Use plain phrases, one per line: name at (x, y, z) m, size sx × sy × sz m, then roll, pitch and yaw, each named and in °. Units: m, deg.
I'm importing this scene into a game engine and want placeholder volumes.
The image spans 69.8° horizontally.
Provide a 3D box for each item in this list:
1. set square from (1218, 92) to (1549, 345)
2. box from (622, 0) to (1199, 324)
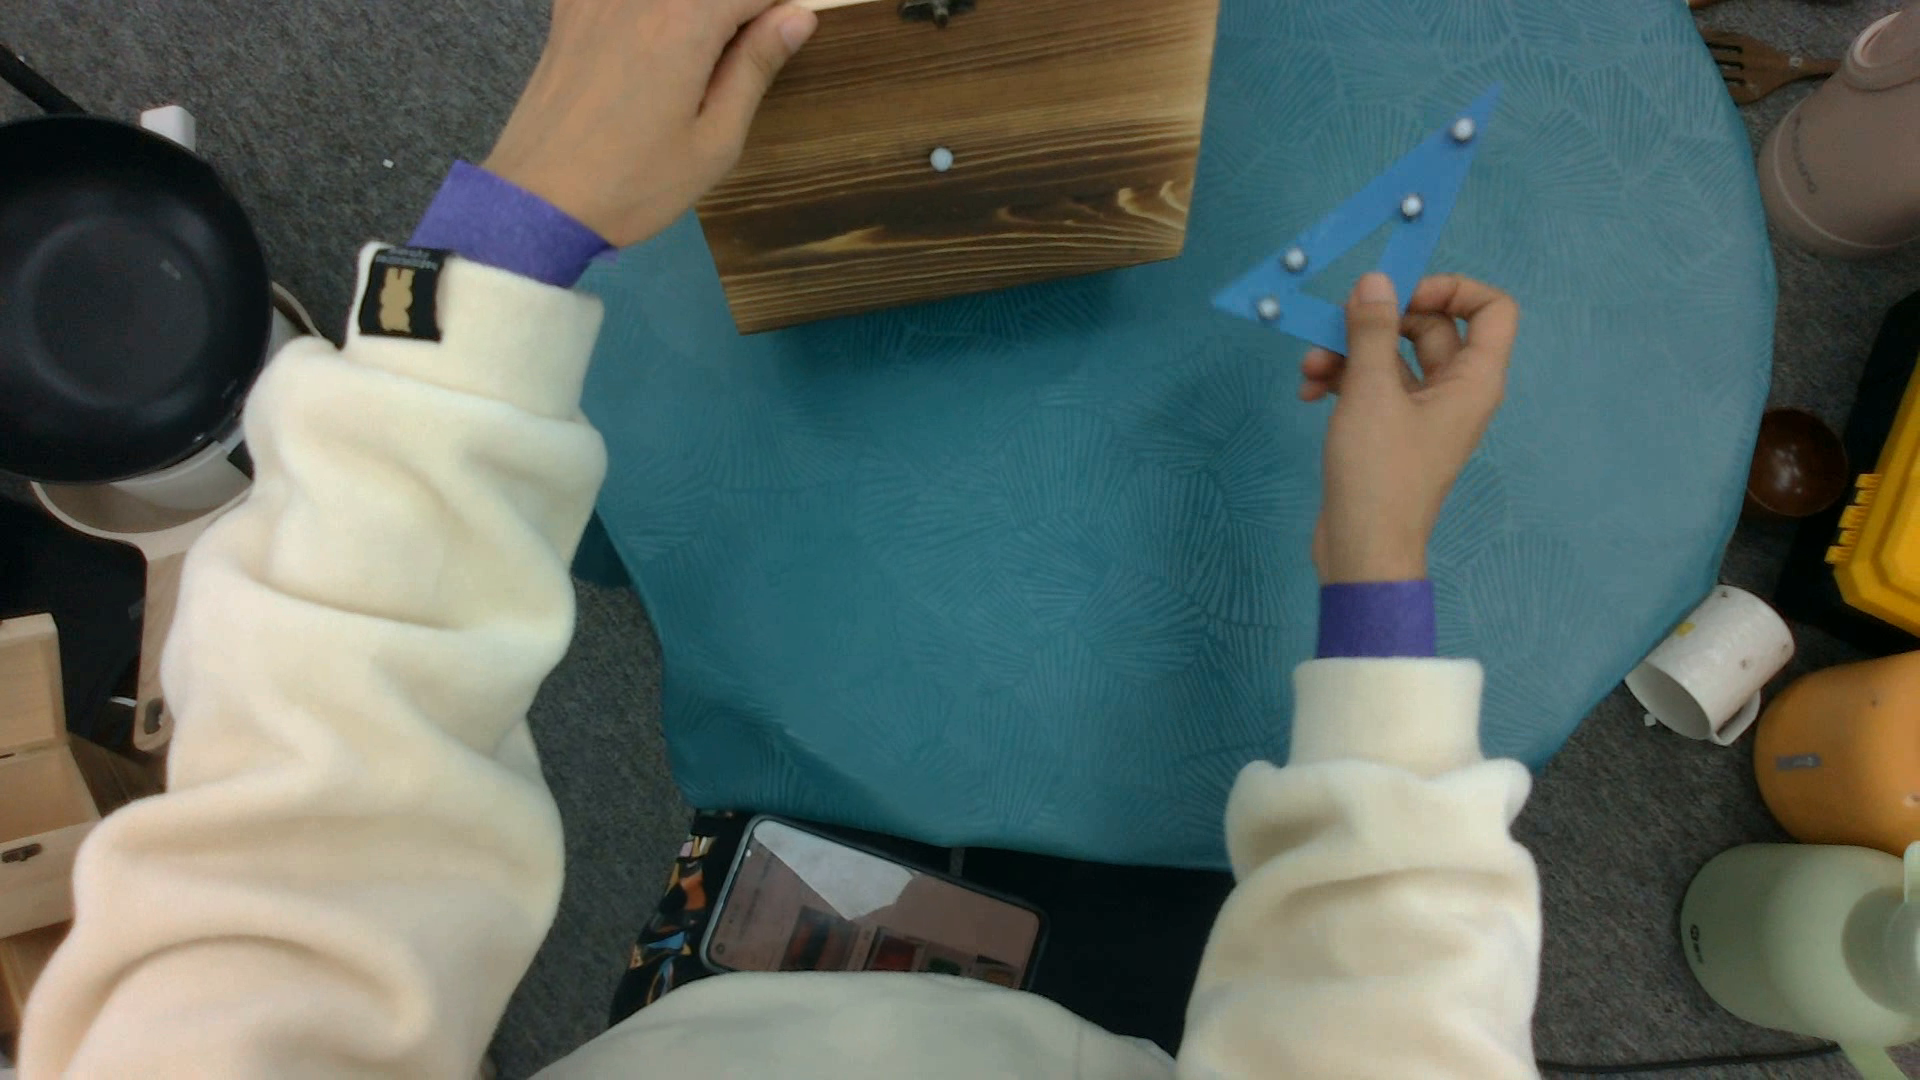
set square at (0.170, -0.117, 0.523) m, size 0.132 × 0.006 × 0.061 m, roll -27°, pitch 80°, yaw 10°
box at (-0.045, -0.326, 0.521) m, size 0.209 × 0.374 × 0.323 m, roll -11°, pitch 62°, yaw -2°
